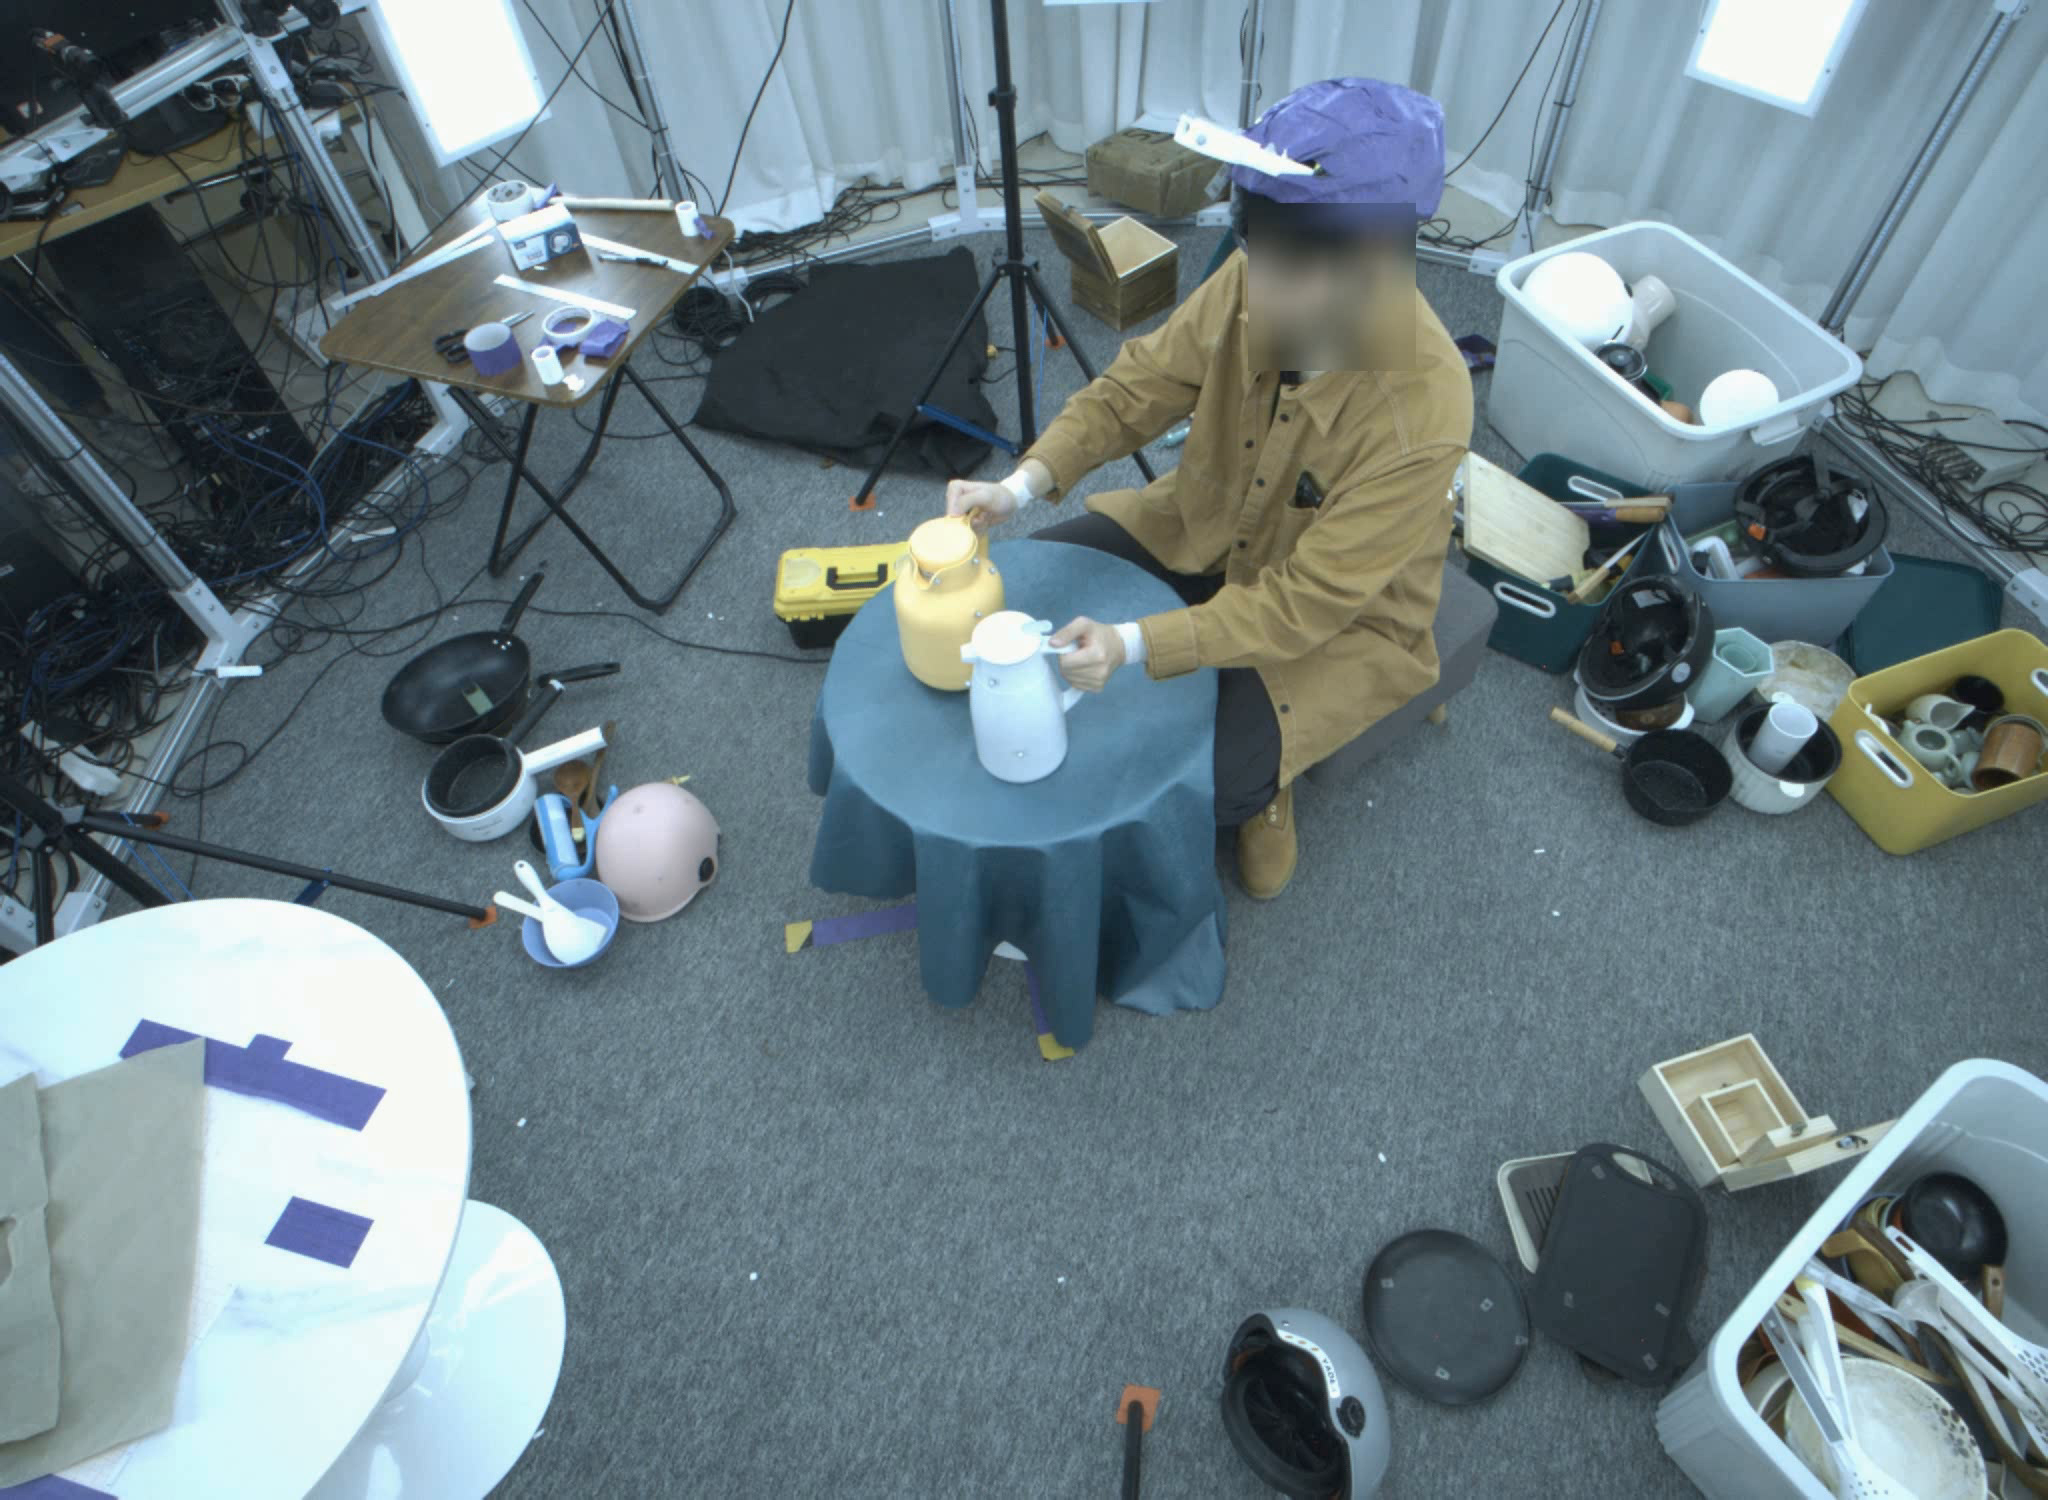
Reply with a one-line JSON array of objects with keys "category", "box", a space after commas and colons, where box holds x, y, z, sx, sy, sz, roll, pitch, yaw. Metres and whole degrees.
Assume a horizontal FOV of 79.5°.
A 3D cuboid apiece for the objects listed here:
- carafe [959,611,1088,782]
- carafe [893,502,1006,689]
[{"category": "carafe", "box": [0.005, -0.083, 1.686, 0.168, 0.251, 0.130, -10, 54, -3]}, {"category": "carafe", "box": [-0.101, -0.232, 1.791, 0.162, 0.263, 0.202, 19, 58, 13]}]
